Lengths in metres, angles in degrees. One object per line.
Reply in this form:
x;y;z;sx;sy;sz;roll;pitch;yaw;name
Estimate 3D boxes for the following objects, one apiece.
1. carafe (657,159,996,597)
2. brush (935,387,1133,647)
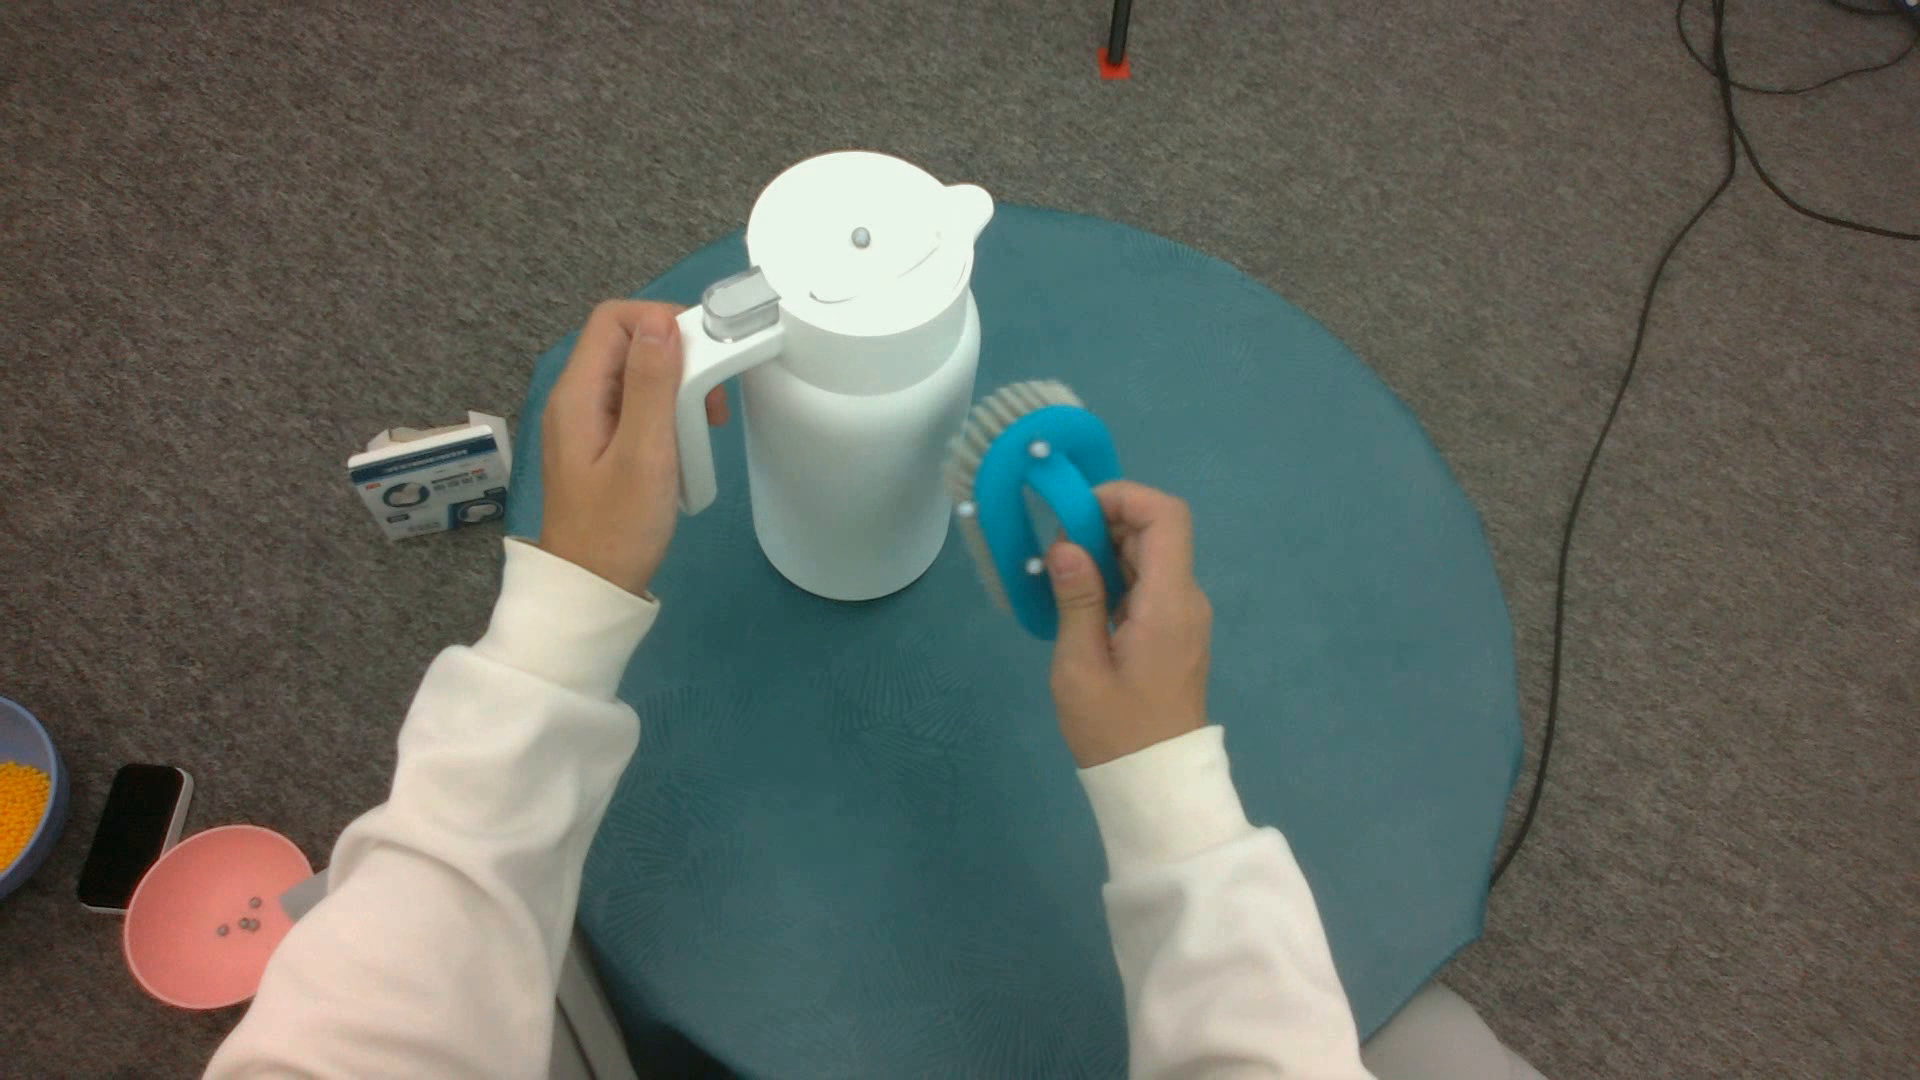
-0.064;-0.064;0.718;0.173;0.268;0.124;-31;72;-17;carafe
0.047;-0.006;0.655;0.084;0.141;0.064;-39;44;-18;brush
